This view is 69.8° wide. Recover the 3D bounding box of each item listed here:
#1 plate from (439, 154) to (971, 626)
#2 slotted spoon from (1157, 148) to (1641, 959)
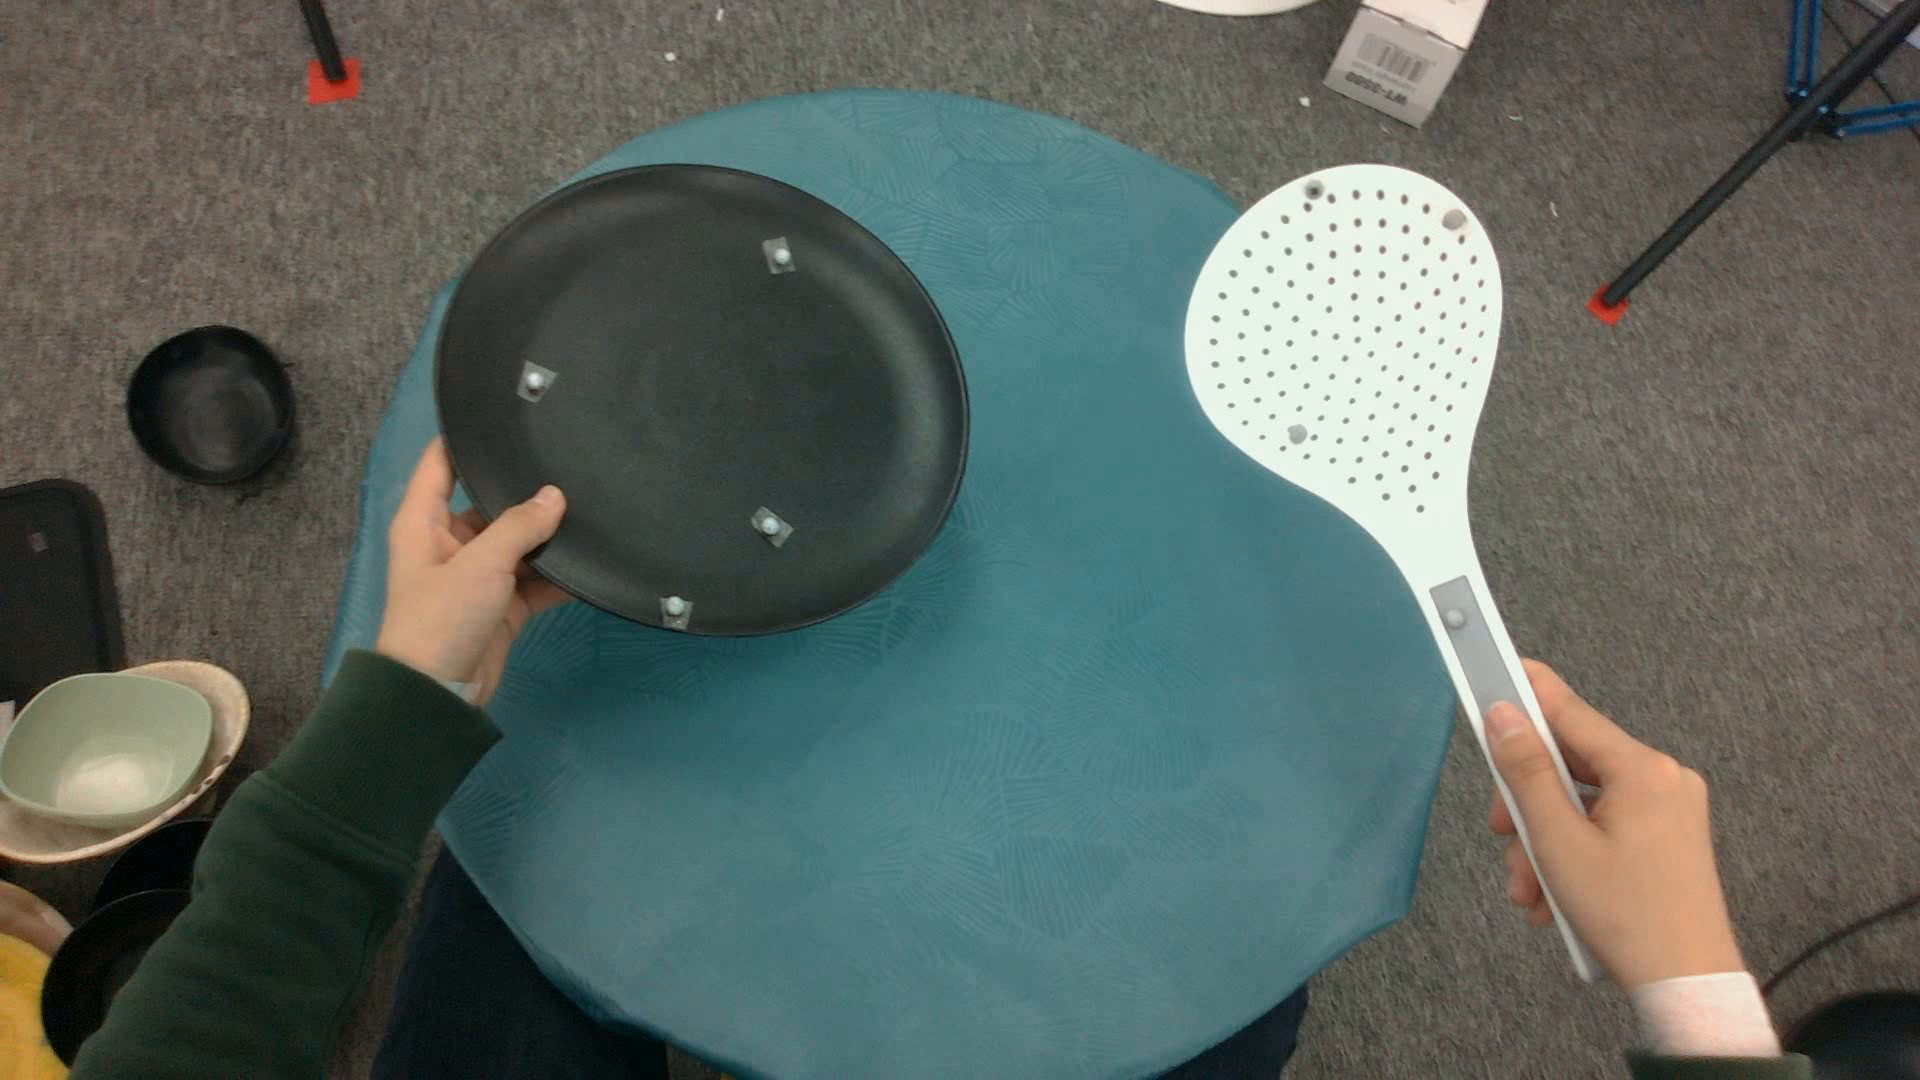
[{"bbox_3d":[-0.114,-0.073,0.645,0.244,0.023,0.245,7,67,-16],"label":"plate"},{"bbox_3d":[0.188,-0.004,0.565,0.135,0.046,0.350,-27,68,21],"label":"slotted spoon"}]
